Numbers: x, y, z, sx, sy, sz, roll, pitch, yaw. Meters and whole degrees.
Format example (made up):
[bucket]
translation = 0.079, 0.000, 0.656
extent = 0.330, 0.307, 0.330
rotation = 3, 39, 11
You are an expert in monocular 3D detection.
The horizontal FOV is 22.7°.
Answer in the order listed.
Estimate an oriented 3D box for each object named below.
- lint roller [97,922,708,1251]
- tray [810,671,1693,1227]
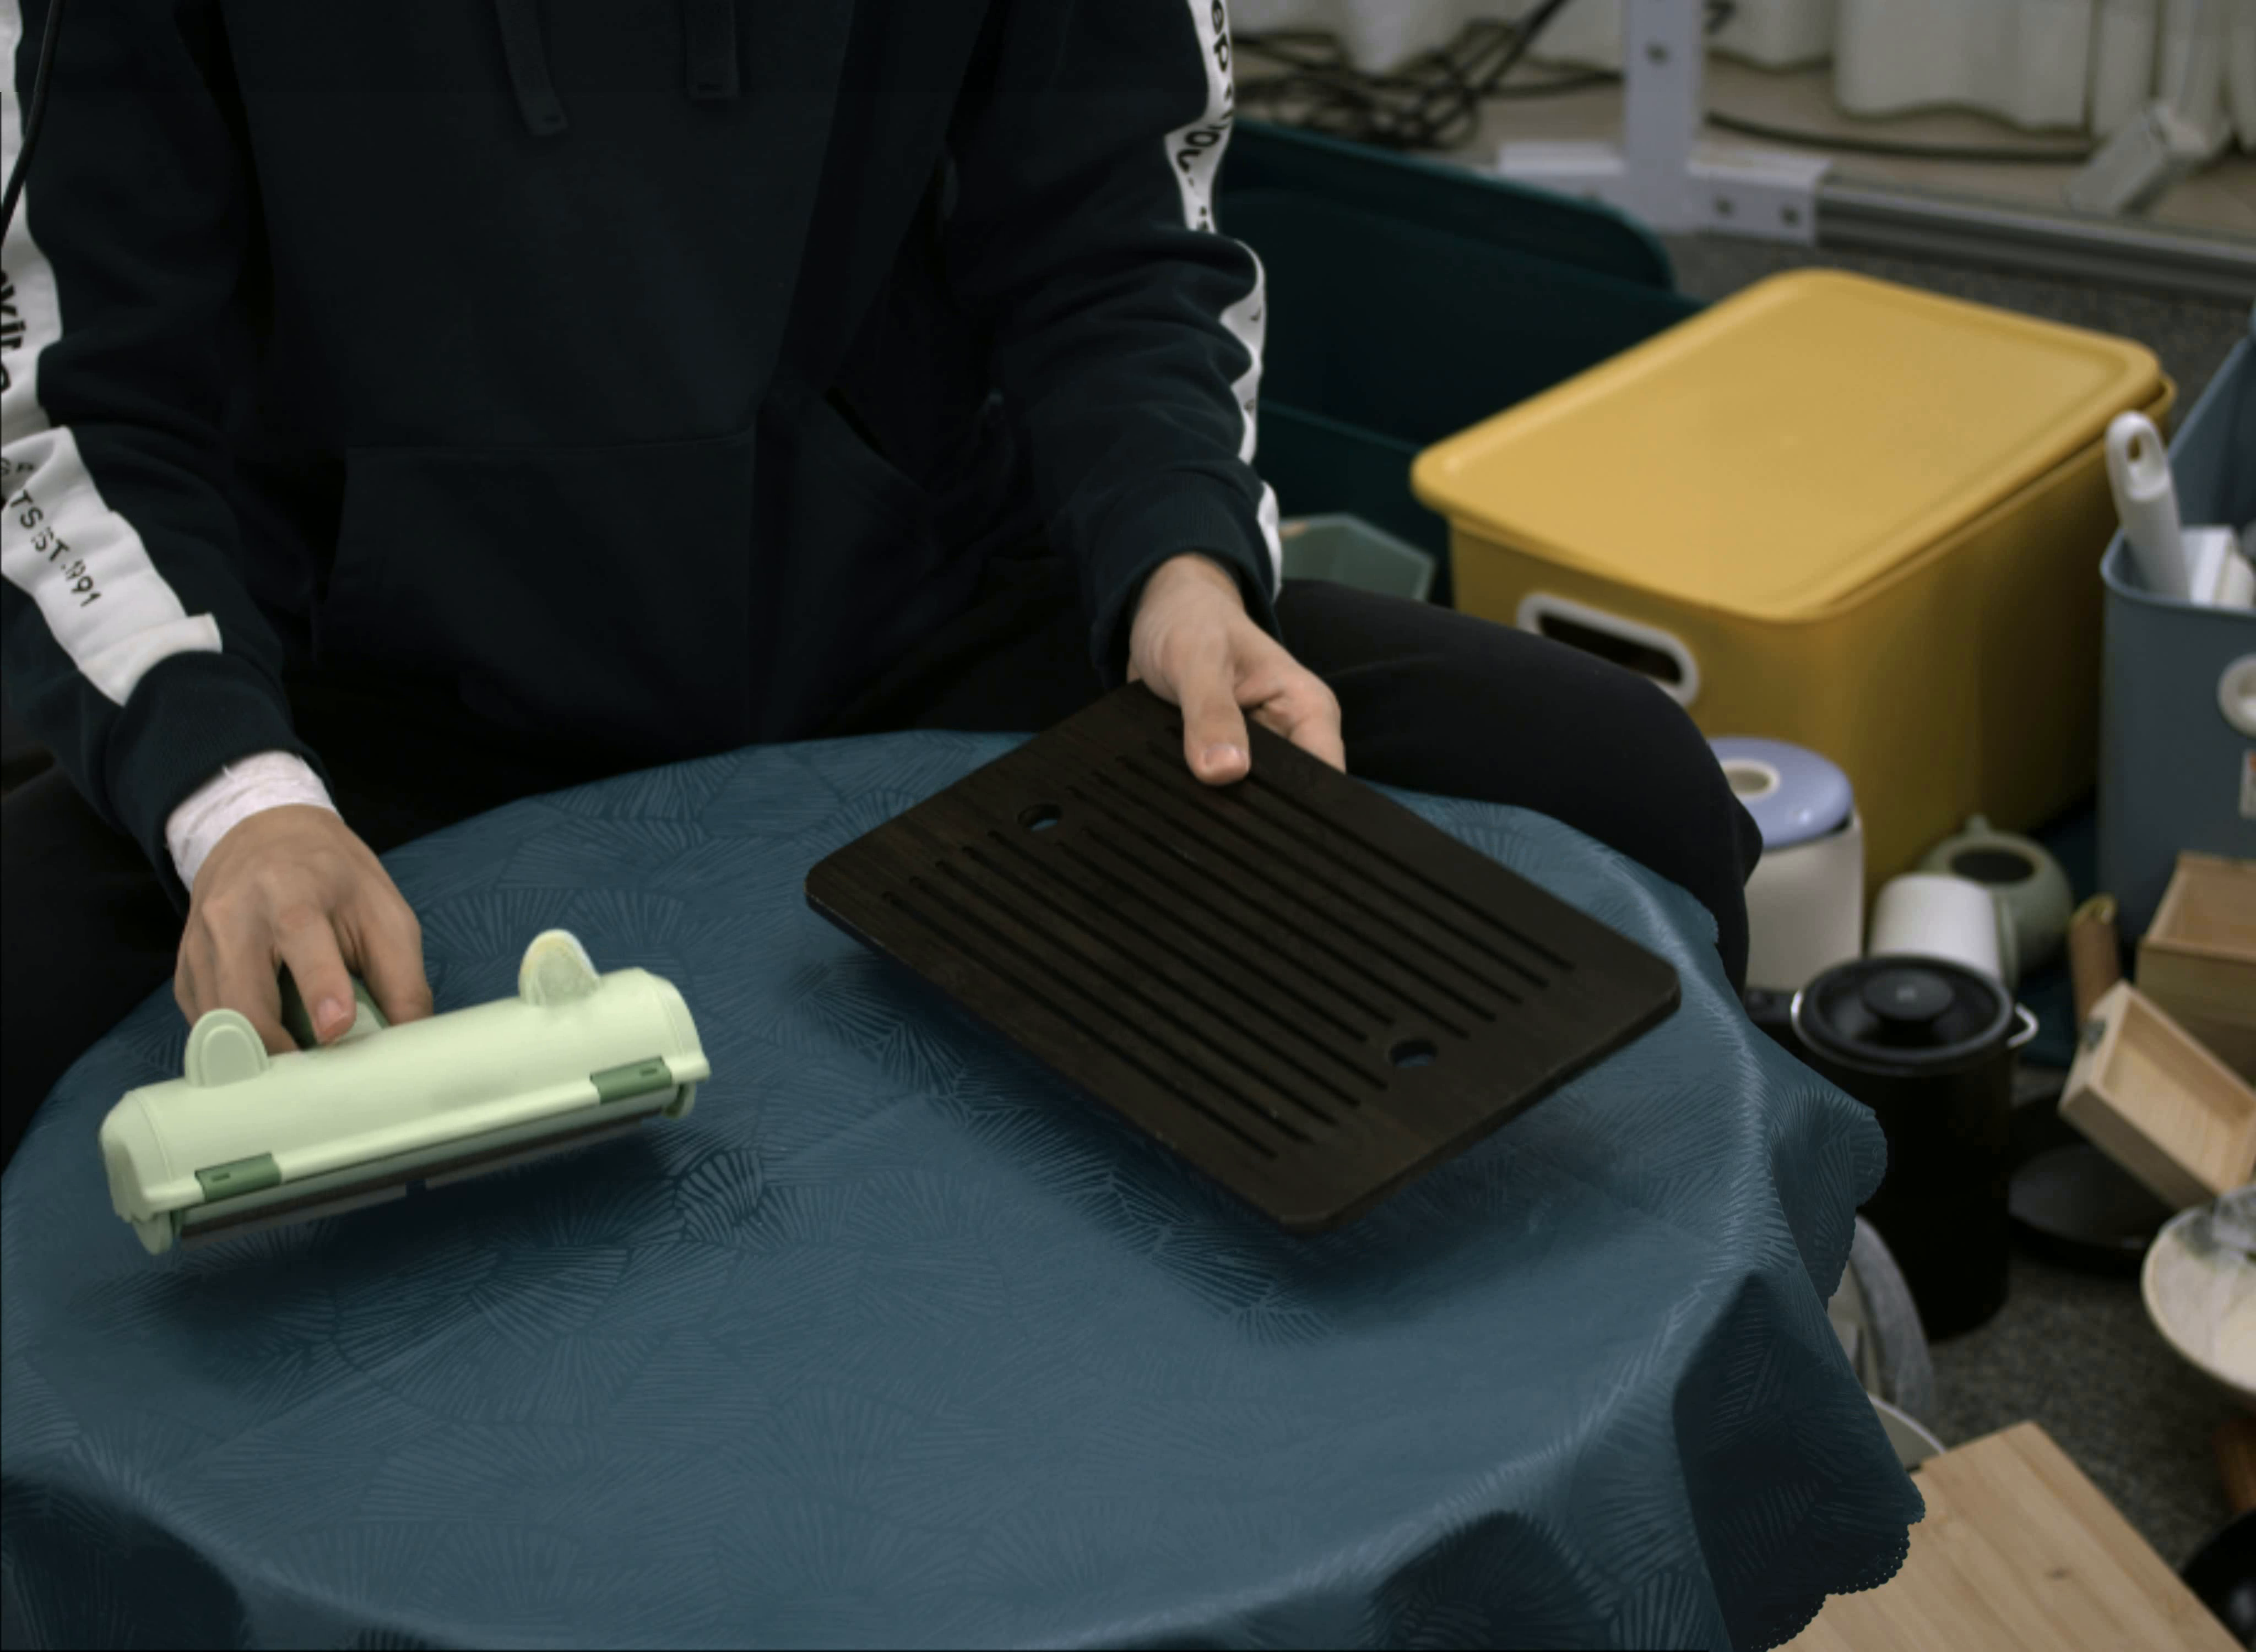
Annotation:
[lint roller]
translation = -0.262, 0.061, 1.885
extent = 0.199, 0.081, 0.184
rotation = -14, 33, -23
[tray]
translation = 0.037, 0.038, 1.924
extent = 0.172, 0.018, 0.306
rotation = -30, 36, -24
